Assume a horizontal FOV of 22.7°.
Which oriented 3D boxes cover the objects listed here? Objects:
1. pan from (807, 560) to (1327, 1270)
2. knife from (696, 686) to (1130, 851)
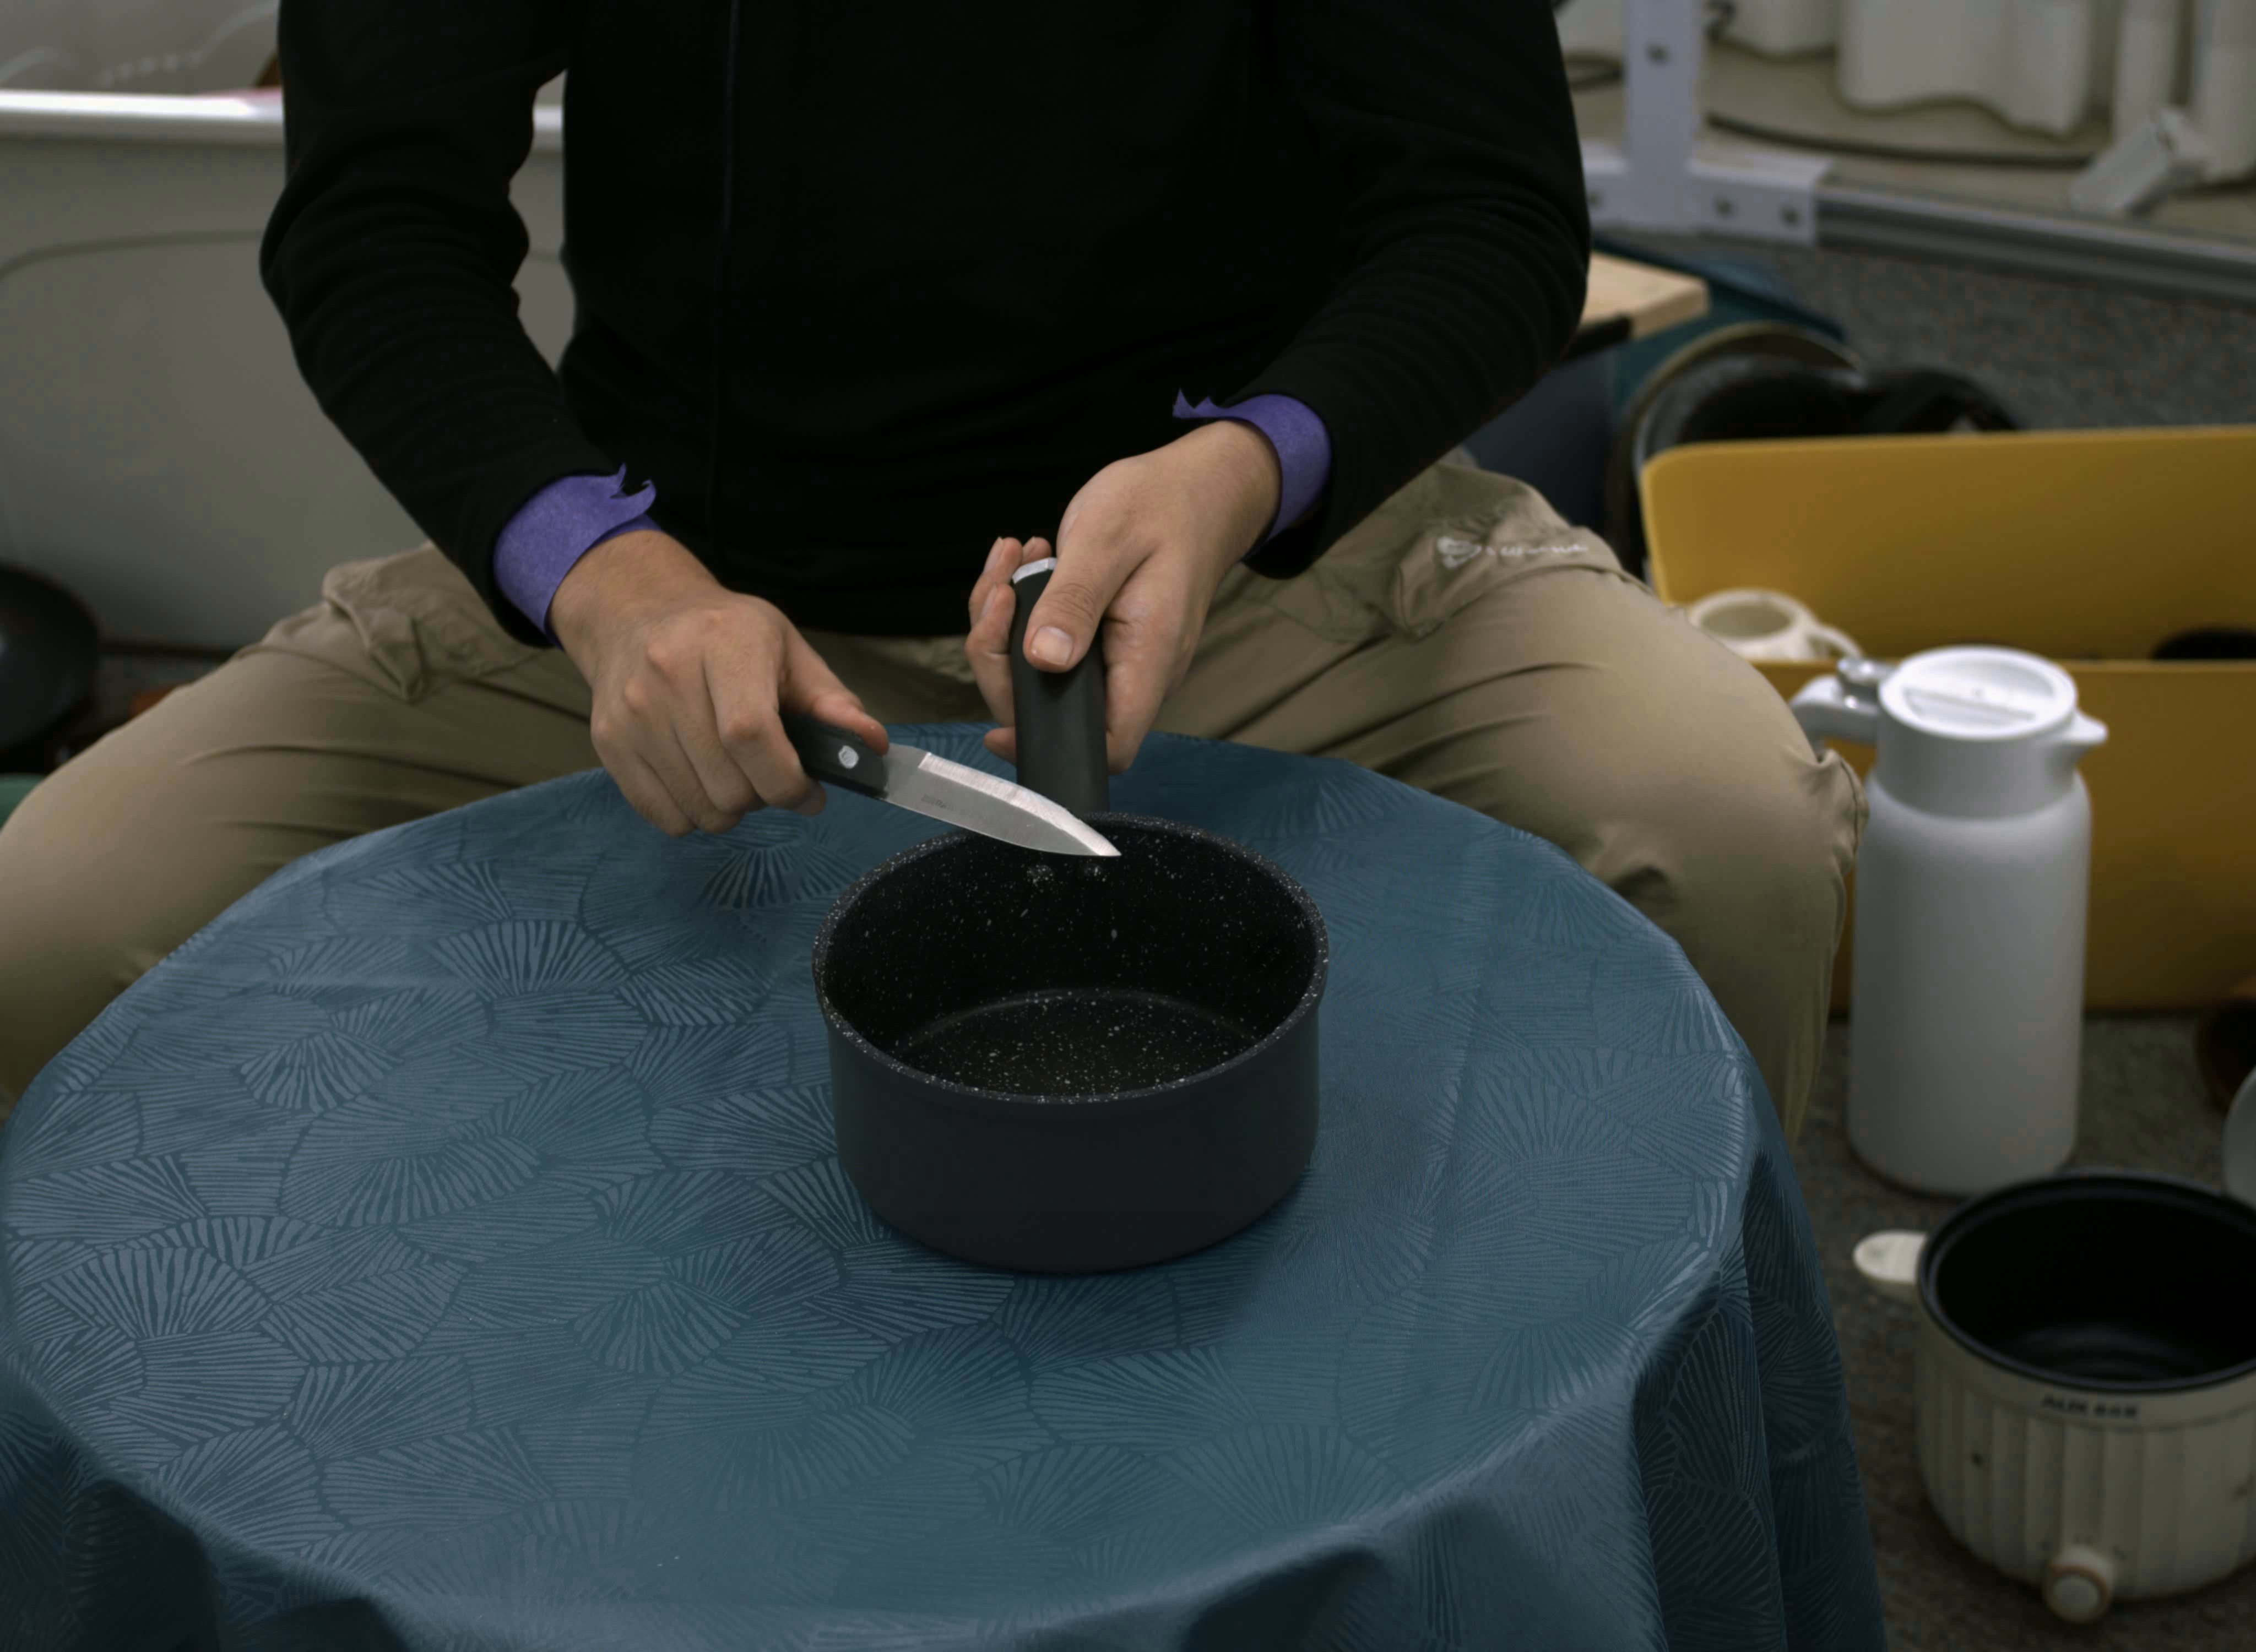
[{"bbox_3d":[-0.017,0.027,1.929,0.171,0.085,0.334,0,32,1],"label":"pan"},{"bbox_3d":[-0.078,-0.016,1.944,0.237,0.016,0.025,18,69,47],"label":"knife"}]
